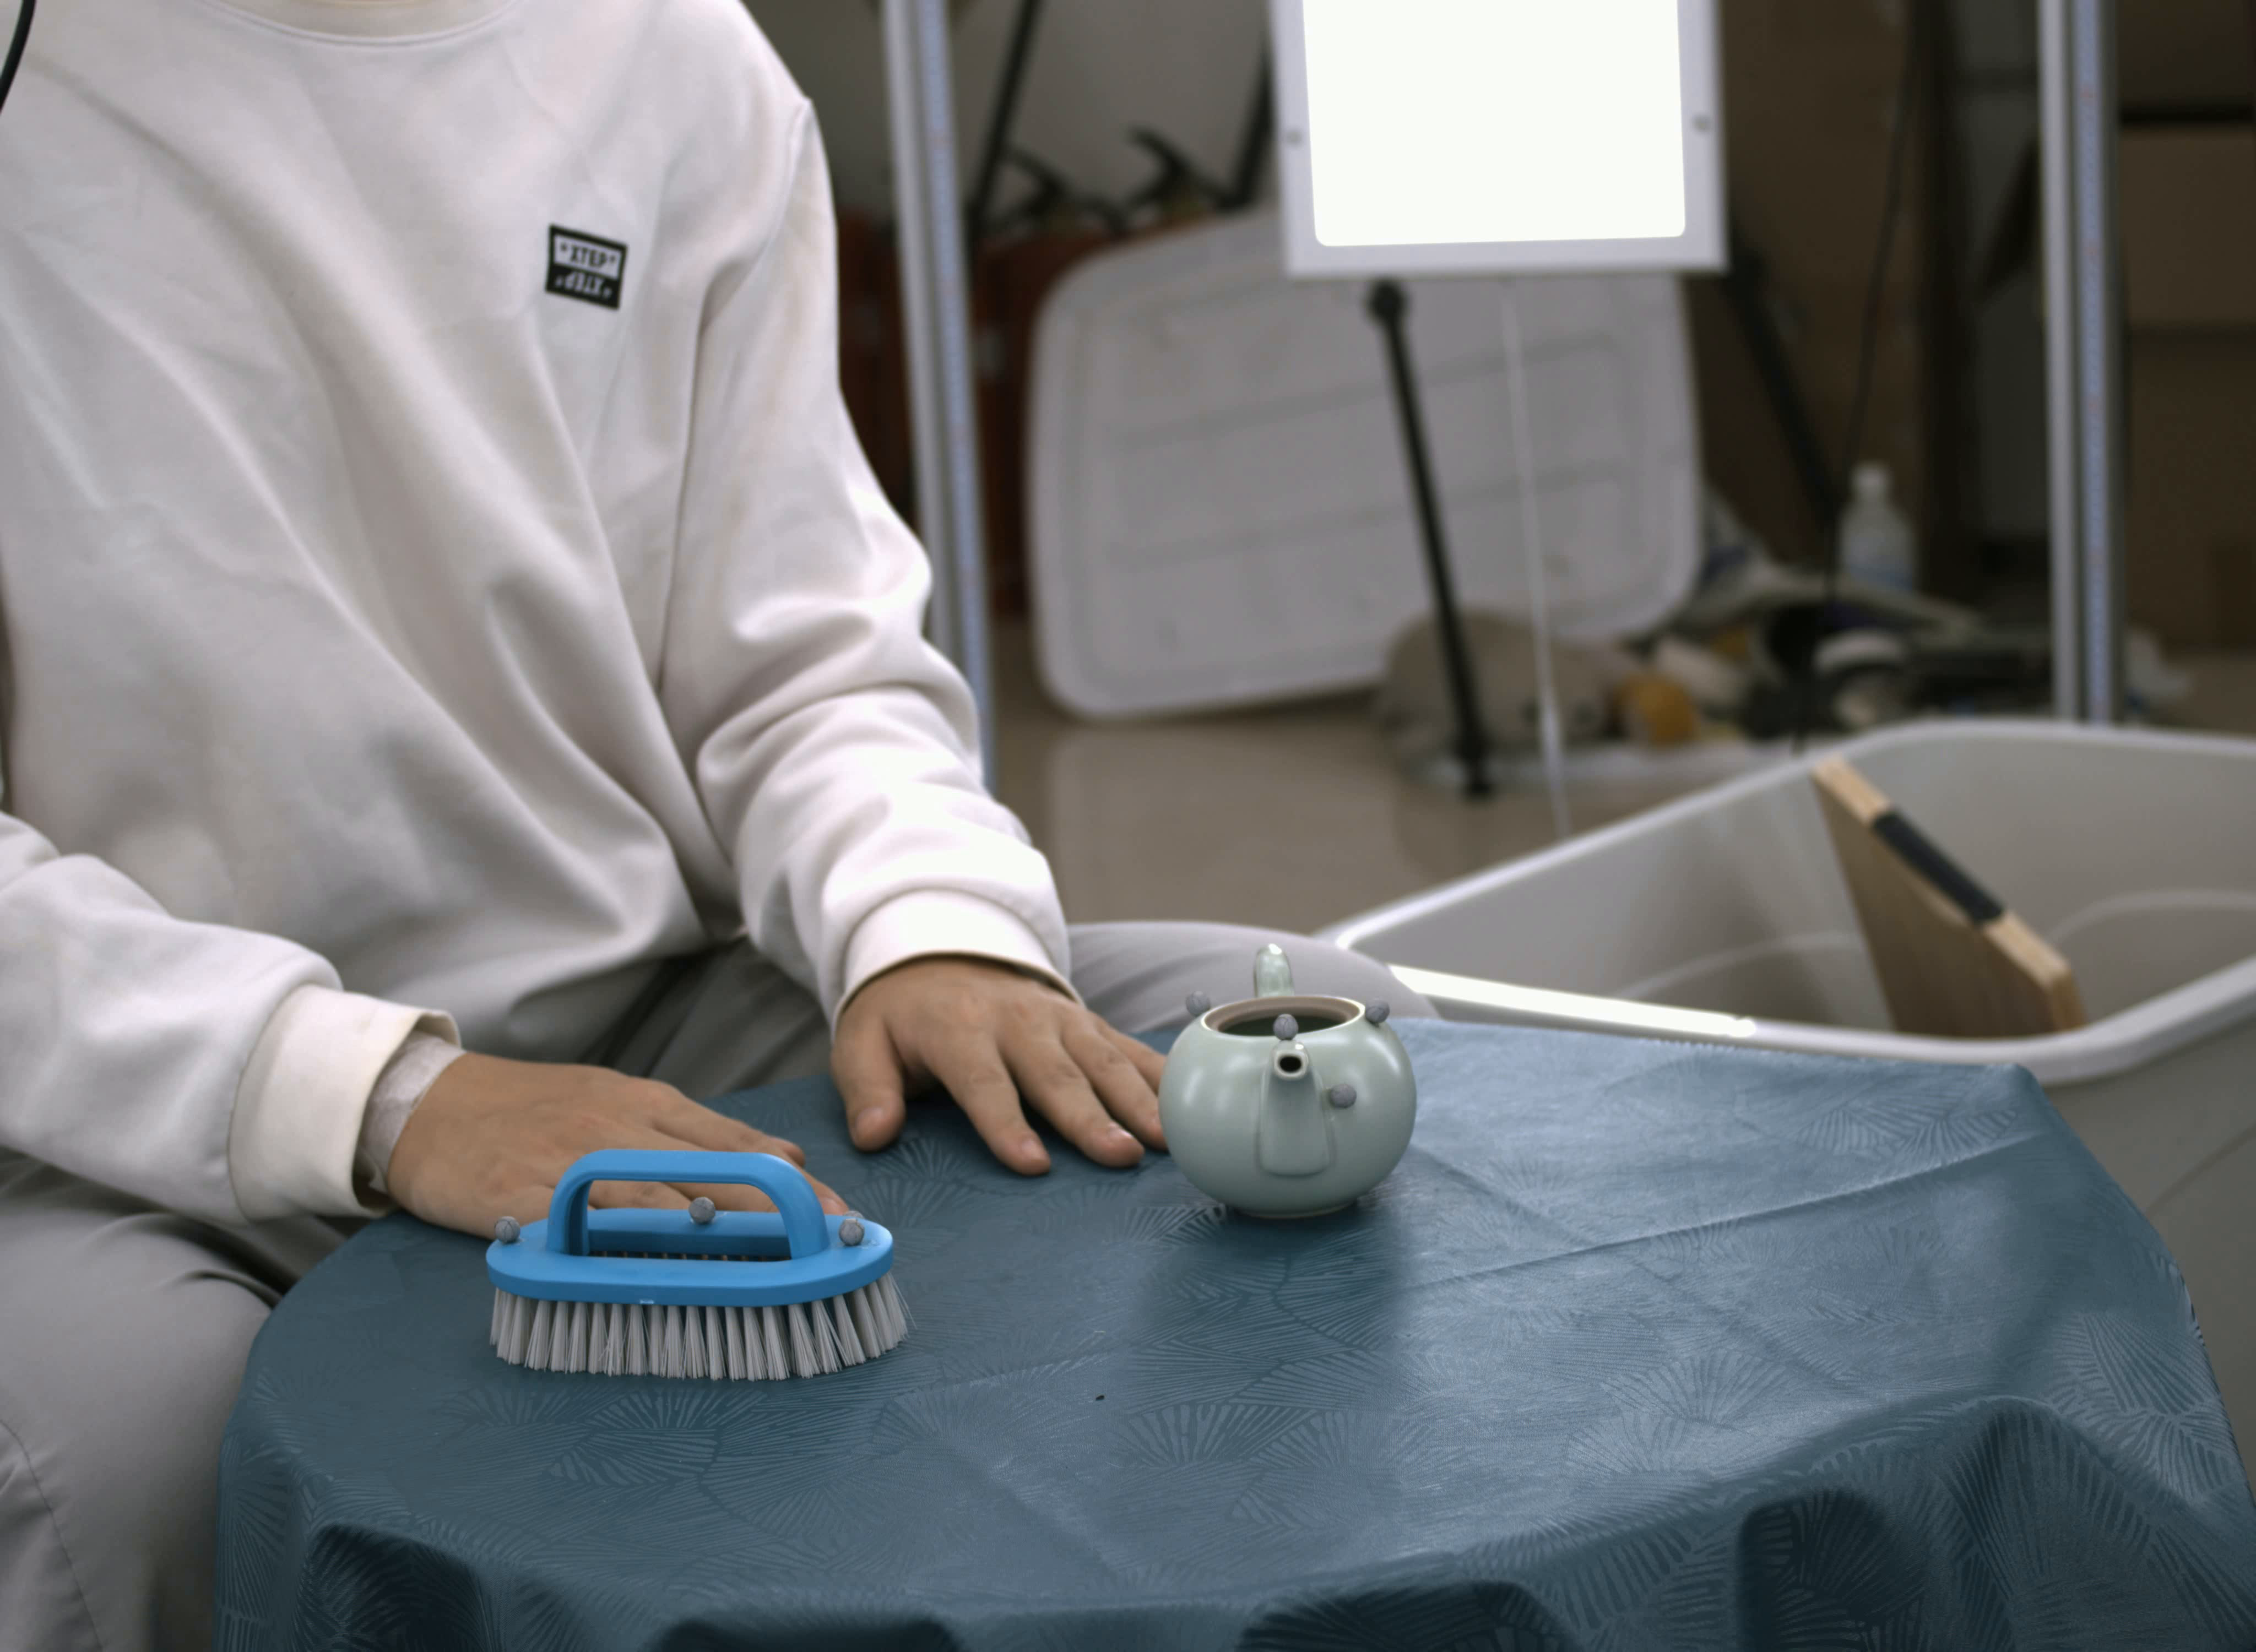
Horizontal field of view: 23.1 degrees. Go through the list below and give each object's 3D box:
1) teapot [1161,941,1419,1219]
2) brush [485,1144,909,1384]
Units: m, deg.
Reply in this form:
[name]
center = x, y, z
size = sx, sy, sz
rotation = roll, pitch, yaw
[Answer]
[teapot]
center = 0.055, 0.092, 1.868
size = 0.088, 0.075, 0.143
rotation = -6, 16, 3
[brush]
center = -0.143, 0.134, 1.780
size = 0.144, 0.064, 0.083
rotation = 0, 19, 23
